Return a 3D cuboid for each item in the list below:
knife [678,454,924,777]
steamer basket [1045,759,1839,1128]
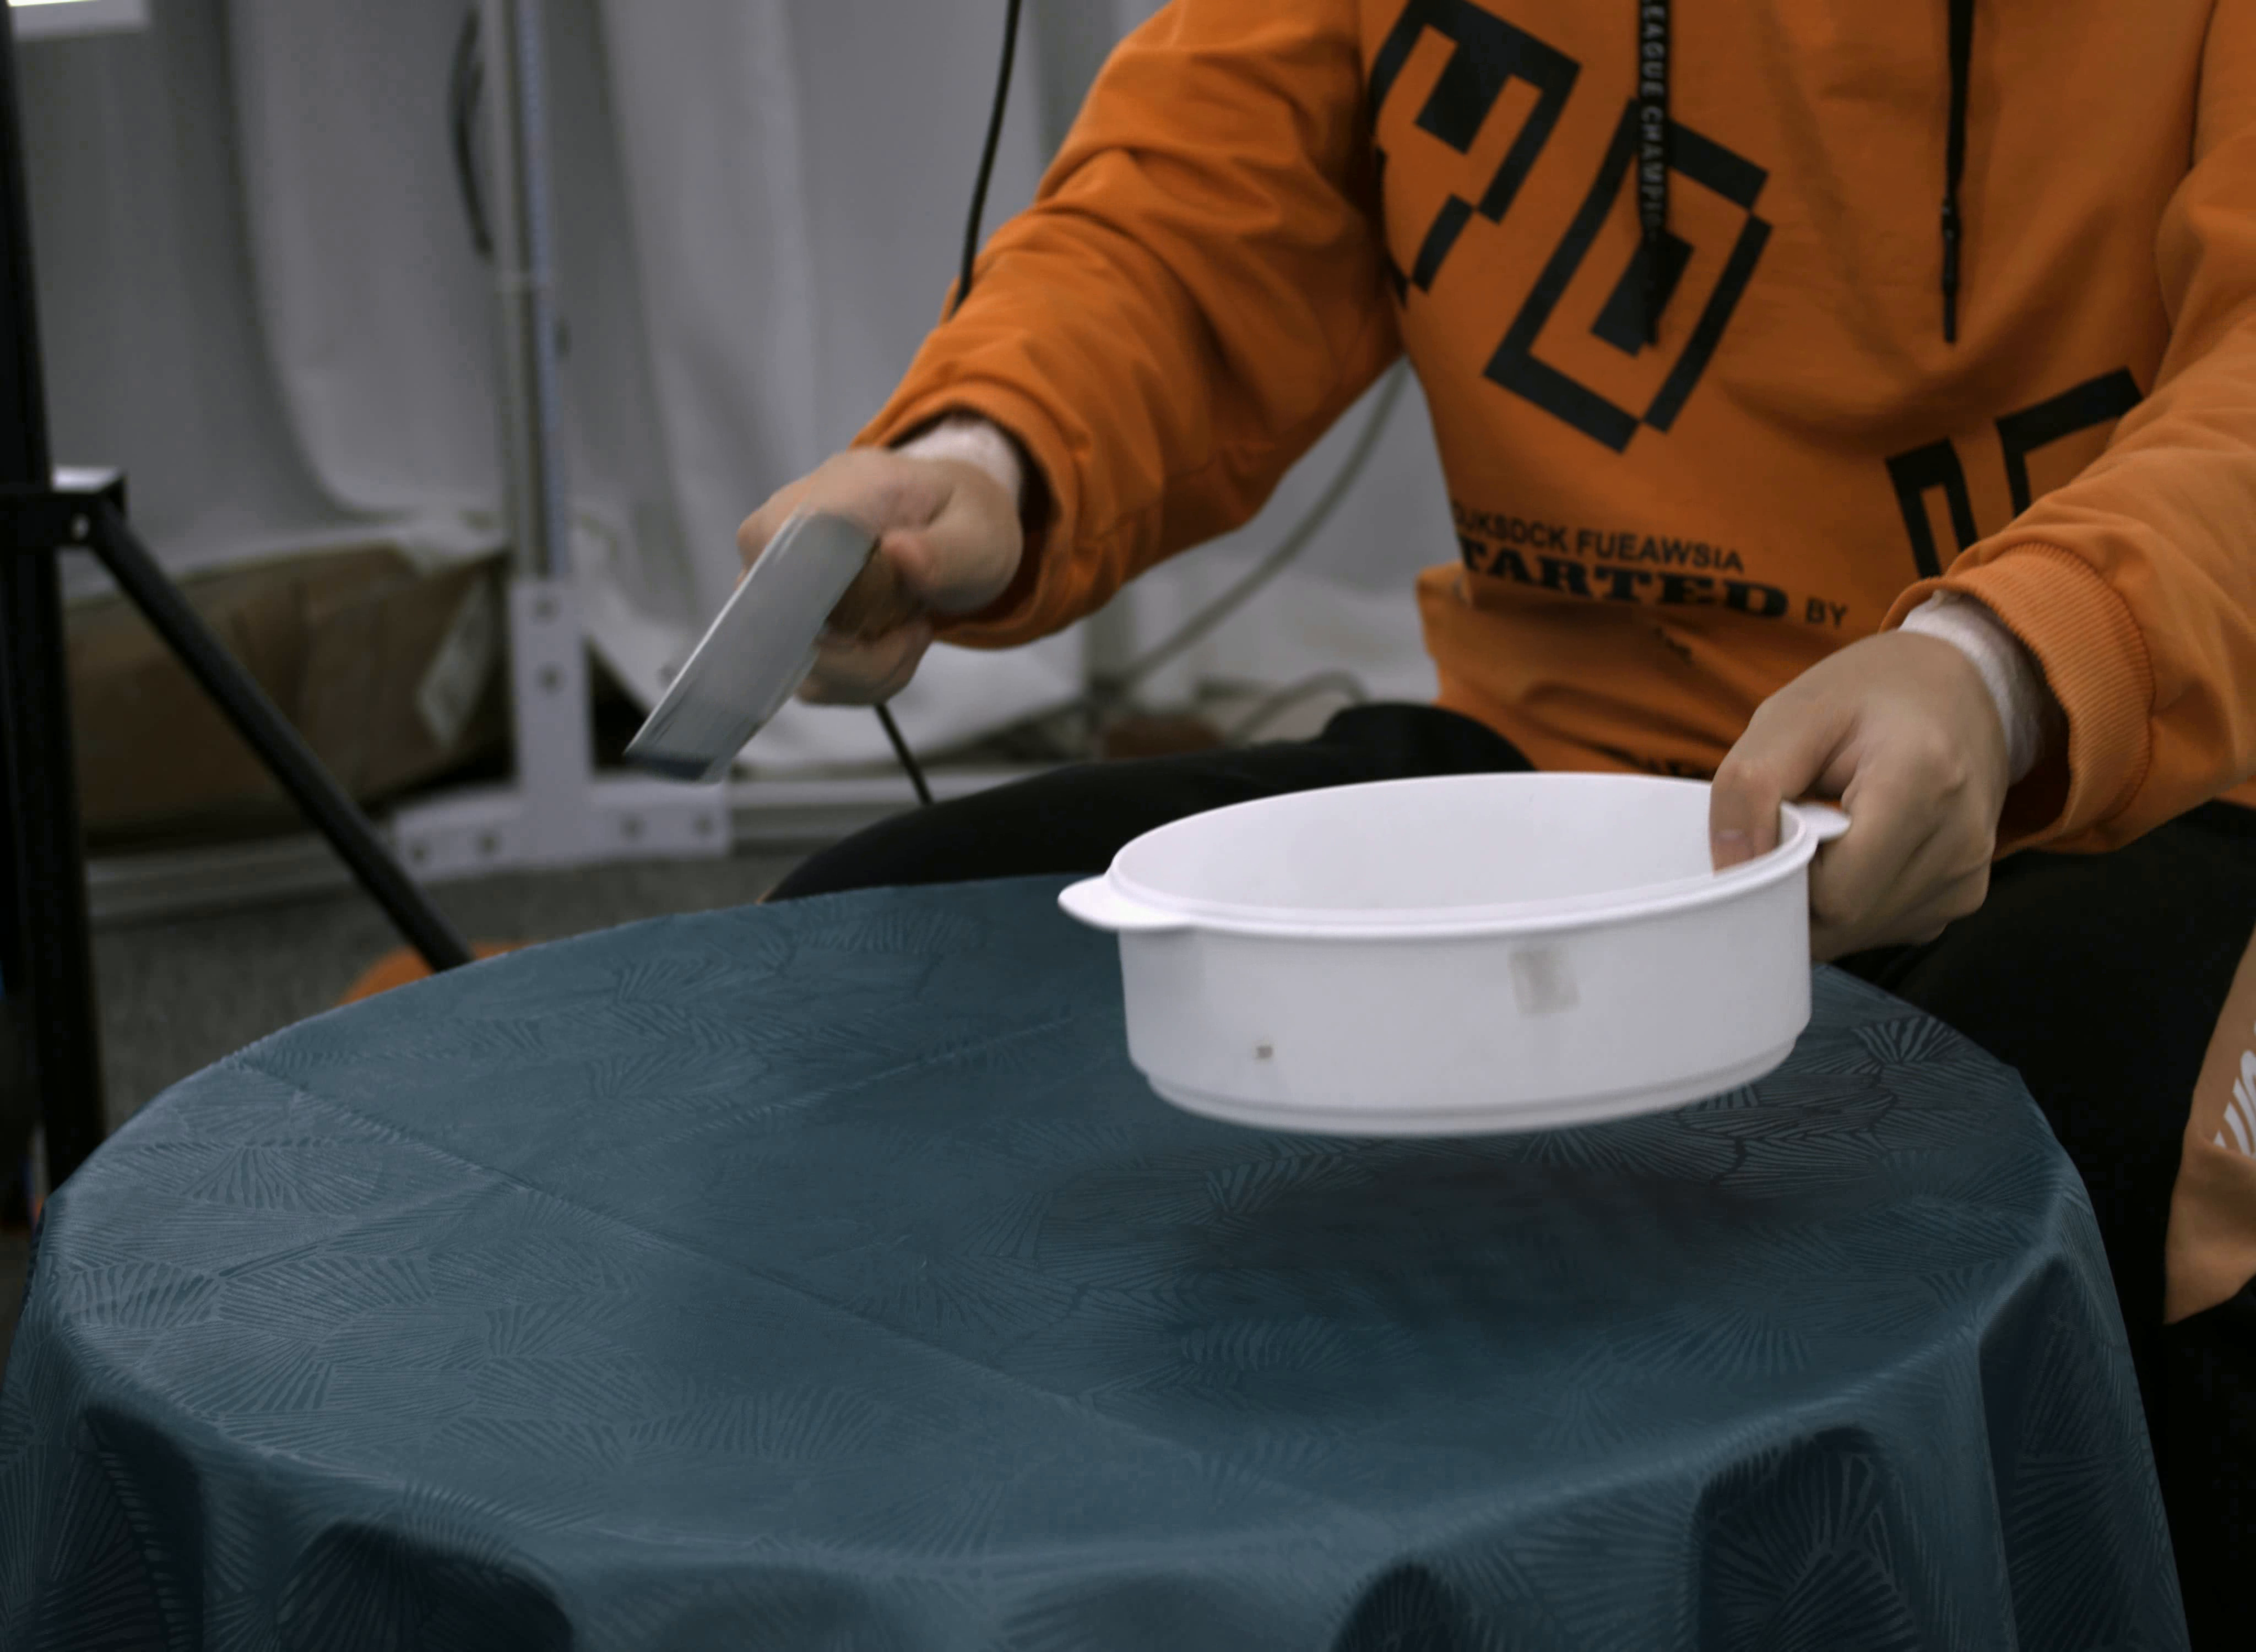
[{"bbox_3d":[-0.101,-0.057,1.639,0.021,0.093,0.304,31,-1,4],"label":"knife"},{"bbox_3d":[0.092,0.034,1.495,0.227,0.069,0.205,-10,10,-16],"label":"steamer basket"}]
